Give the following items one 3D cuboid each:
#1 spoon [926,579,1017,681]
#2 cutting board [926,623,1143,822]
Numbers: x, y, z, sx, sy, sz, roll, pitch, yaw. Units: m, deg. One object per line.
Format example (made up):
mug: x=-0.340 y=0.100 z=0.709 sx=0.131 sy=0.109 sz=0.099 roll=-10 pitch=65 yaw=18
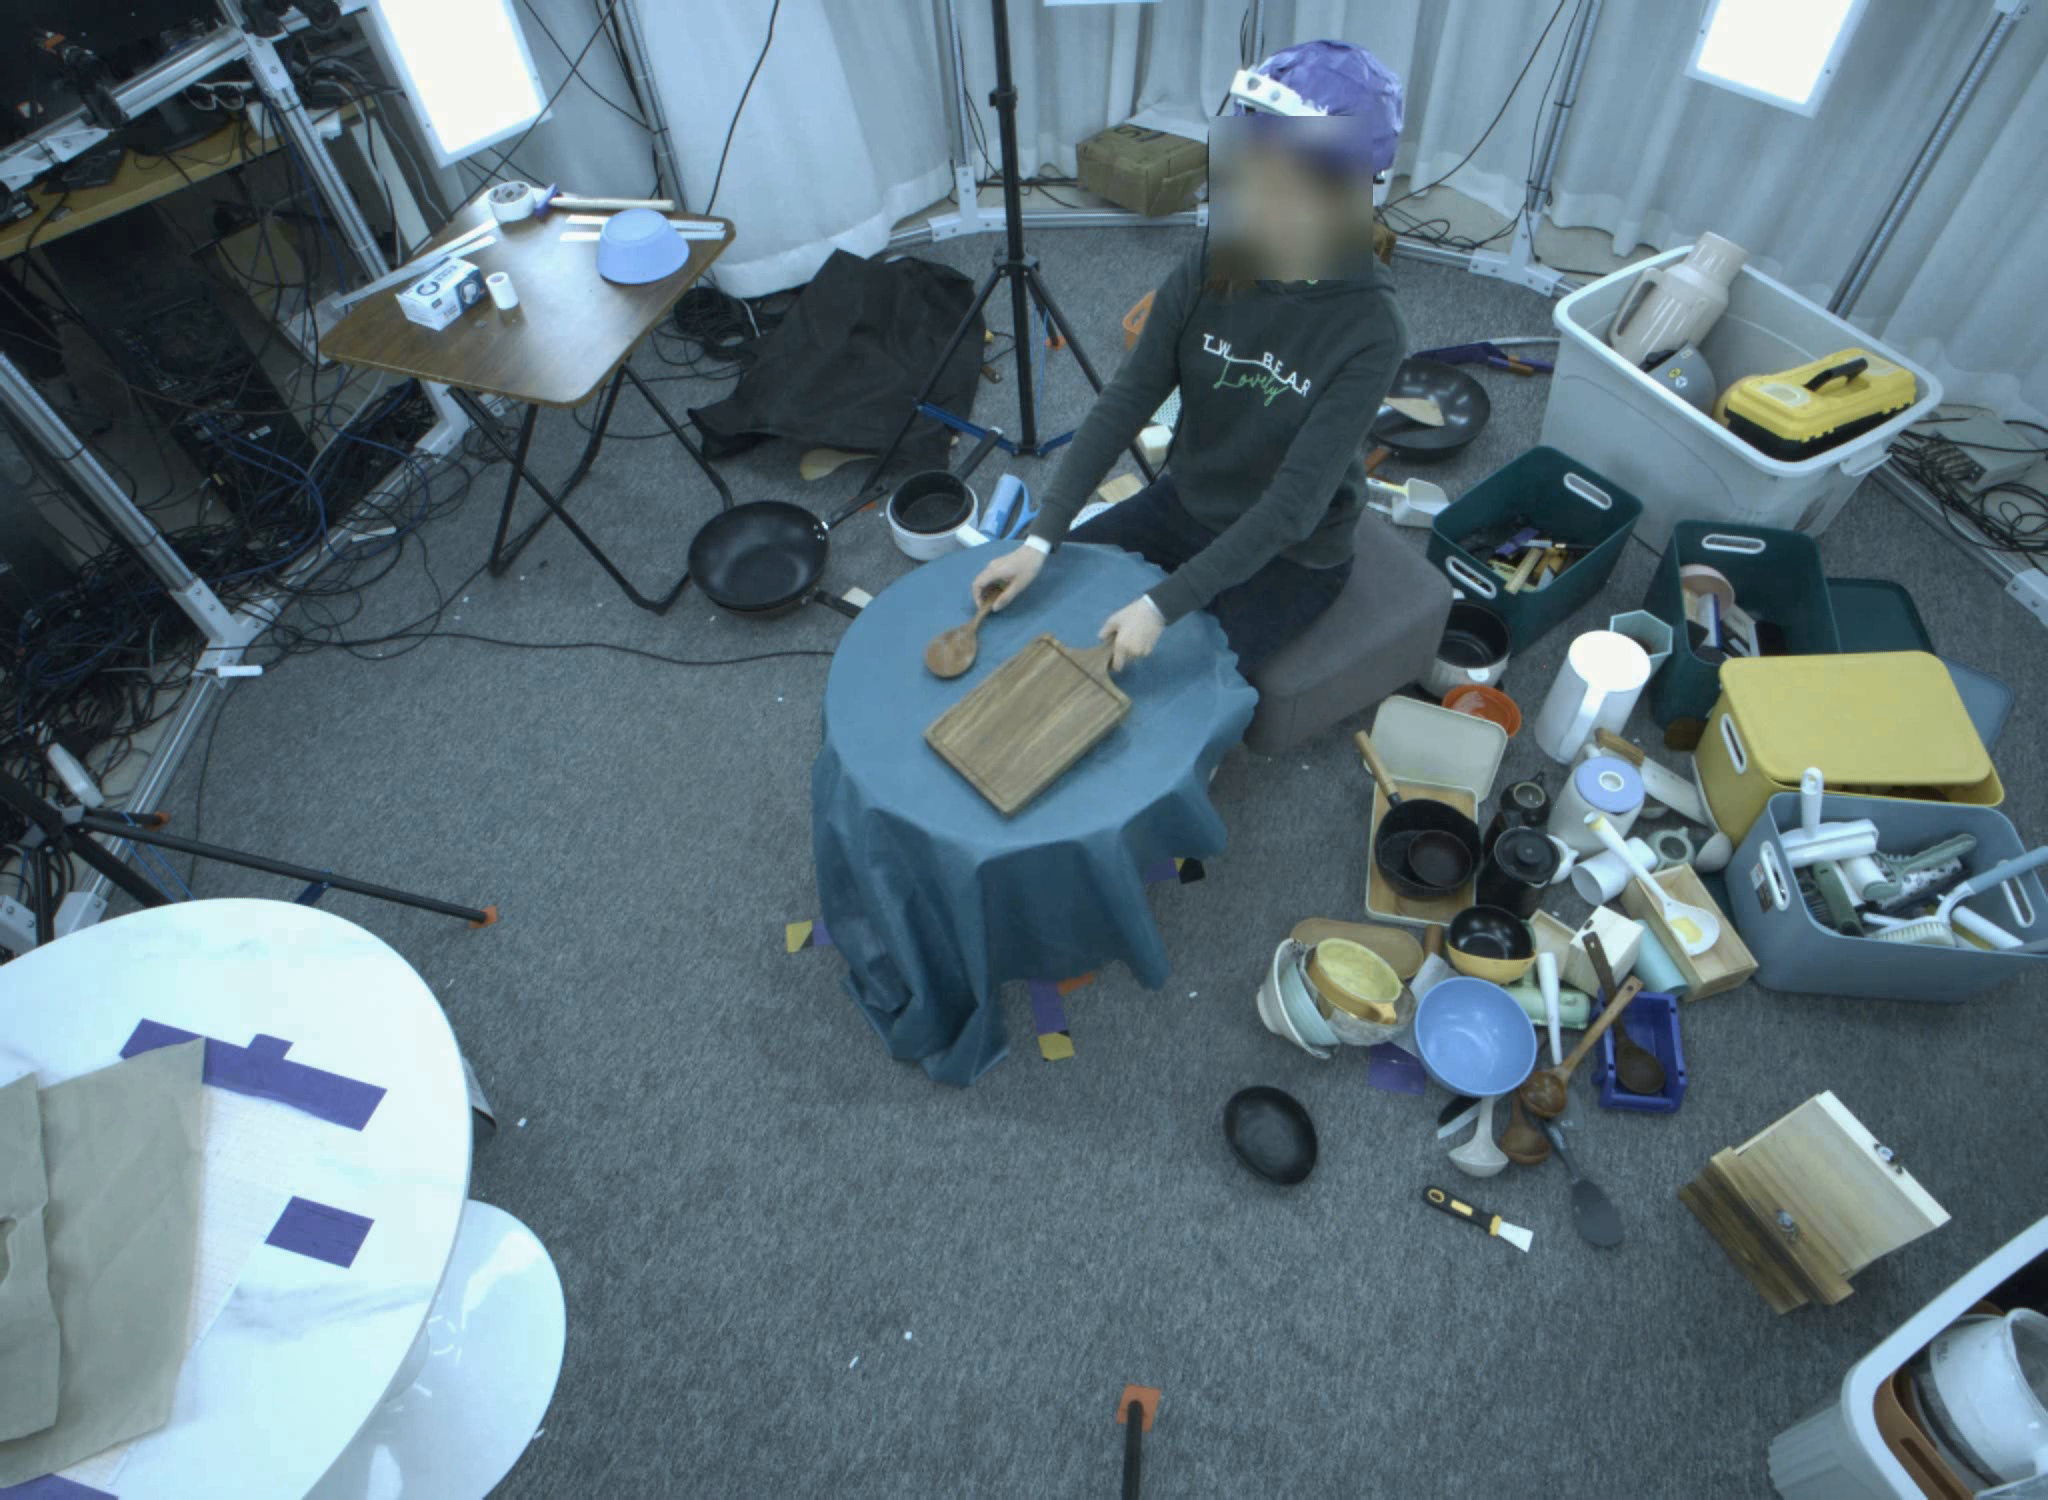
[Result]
spoon: x=-0.076 y=-0.188 z=1.914 sx=0.074 sy=0.017 sz=0.216 roll=29 pitch=65 yaw=15
cutting board: x=0.045 y=-0.067 z=1.801 sx=0.353 sy=0.023 sz=0.197 roll=-41 pitch=62 yaw=-14
